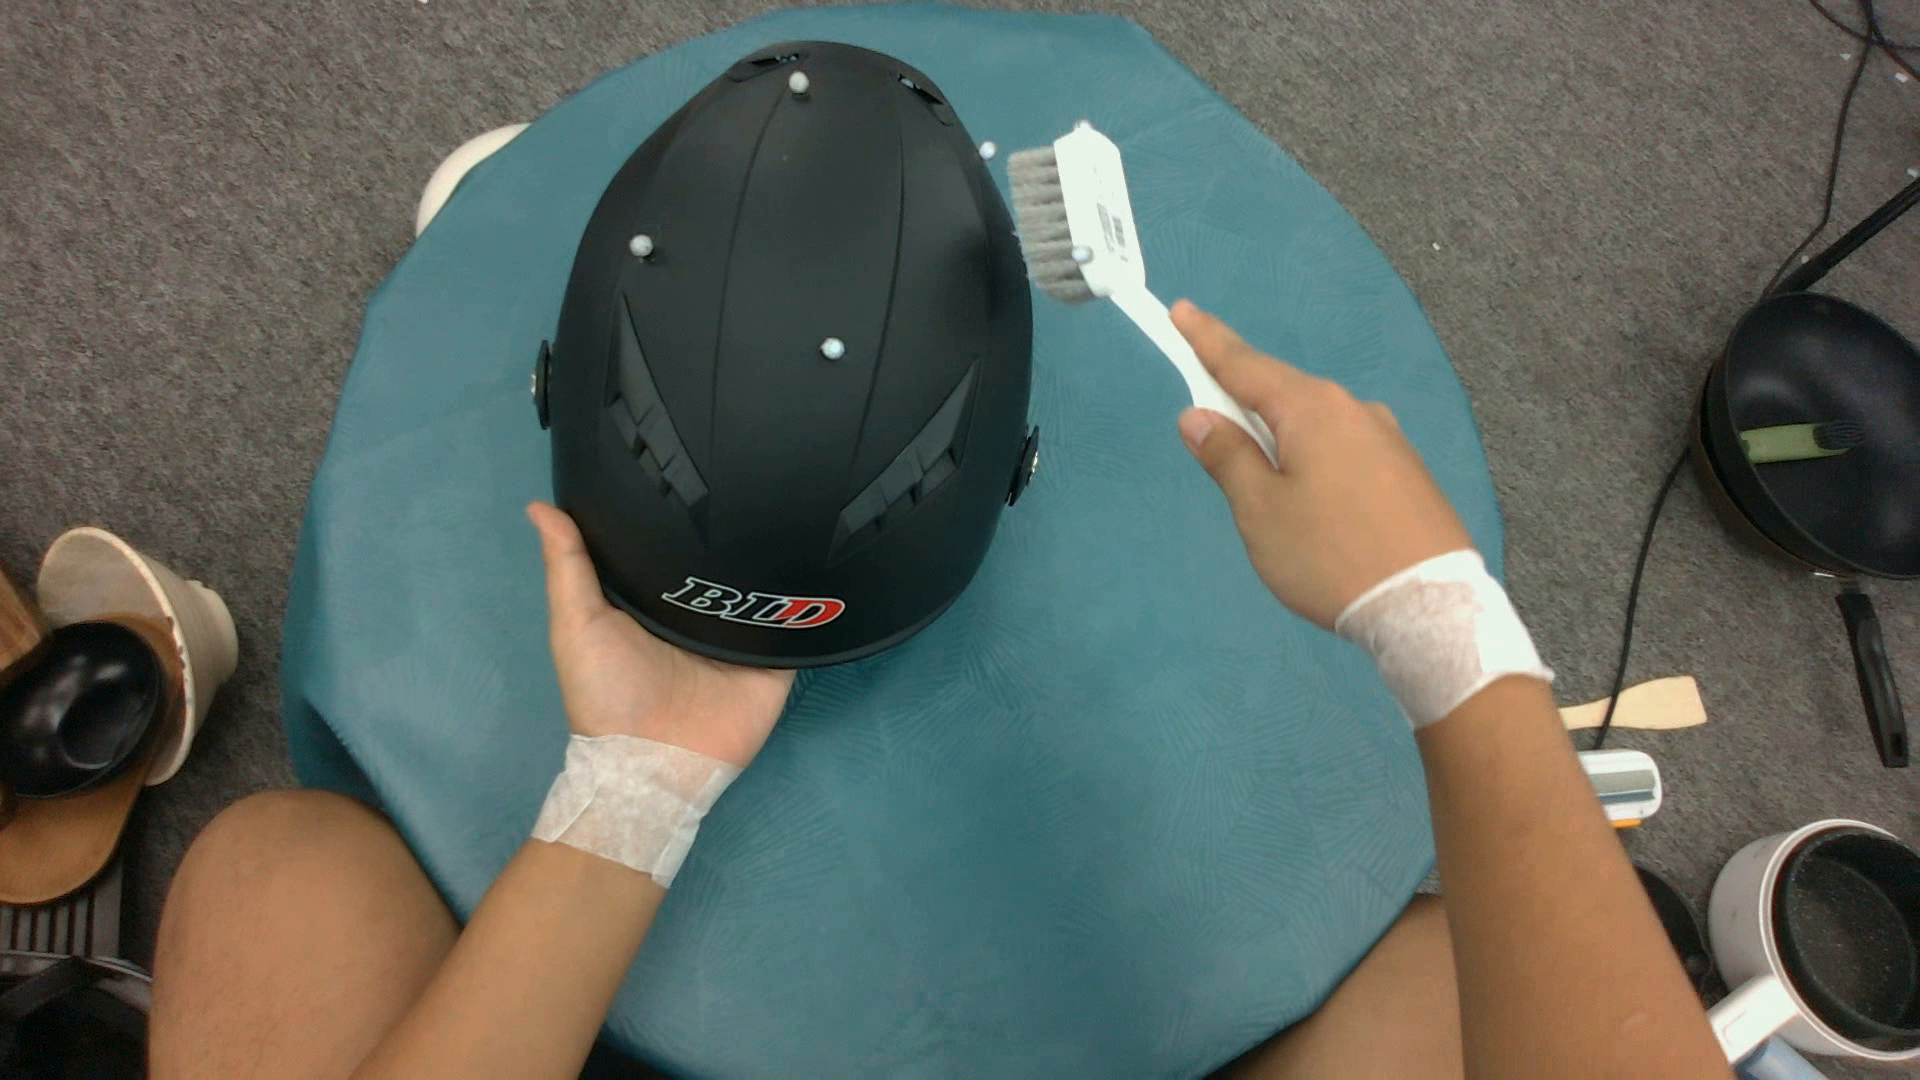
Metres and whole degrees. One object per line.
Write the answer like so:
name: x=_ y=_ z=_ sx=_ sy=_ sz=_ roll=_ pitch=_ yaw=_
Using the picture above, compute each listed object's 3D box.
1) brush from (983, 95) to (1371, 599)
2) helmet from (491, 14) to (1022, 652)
brush: x=0.075 y=-0.073 z=0.530 sx=0.034 sy=0.050 sz=0.244 roll=-3 pitch=59 yaw=-51
helmet: x=-0.081 y=-0.103 z=0.608 sx=0.247 sy=0.171 sz=0.278 roll=10 pitch=53 yaw=-7
